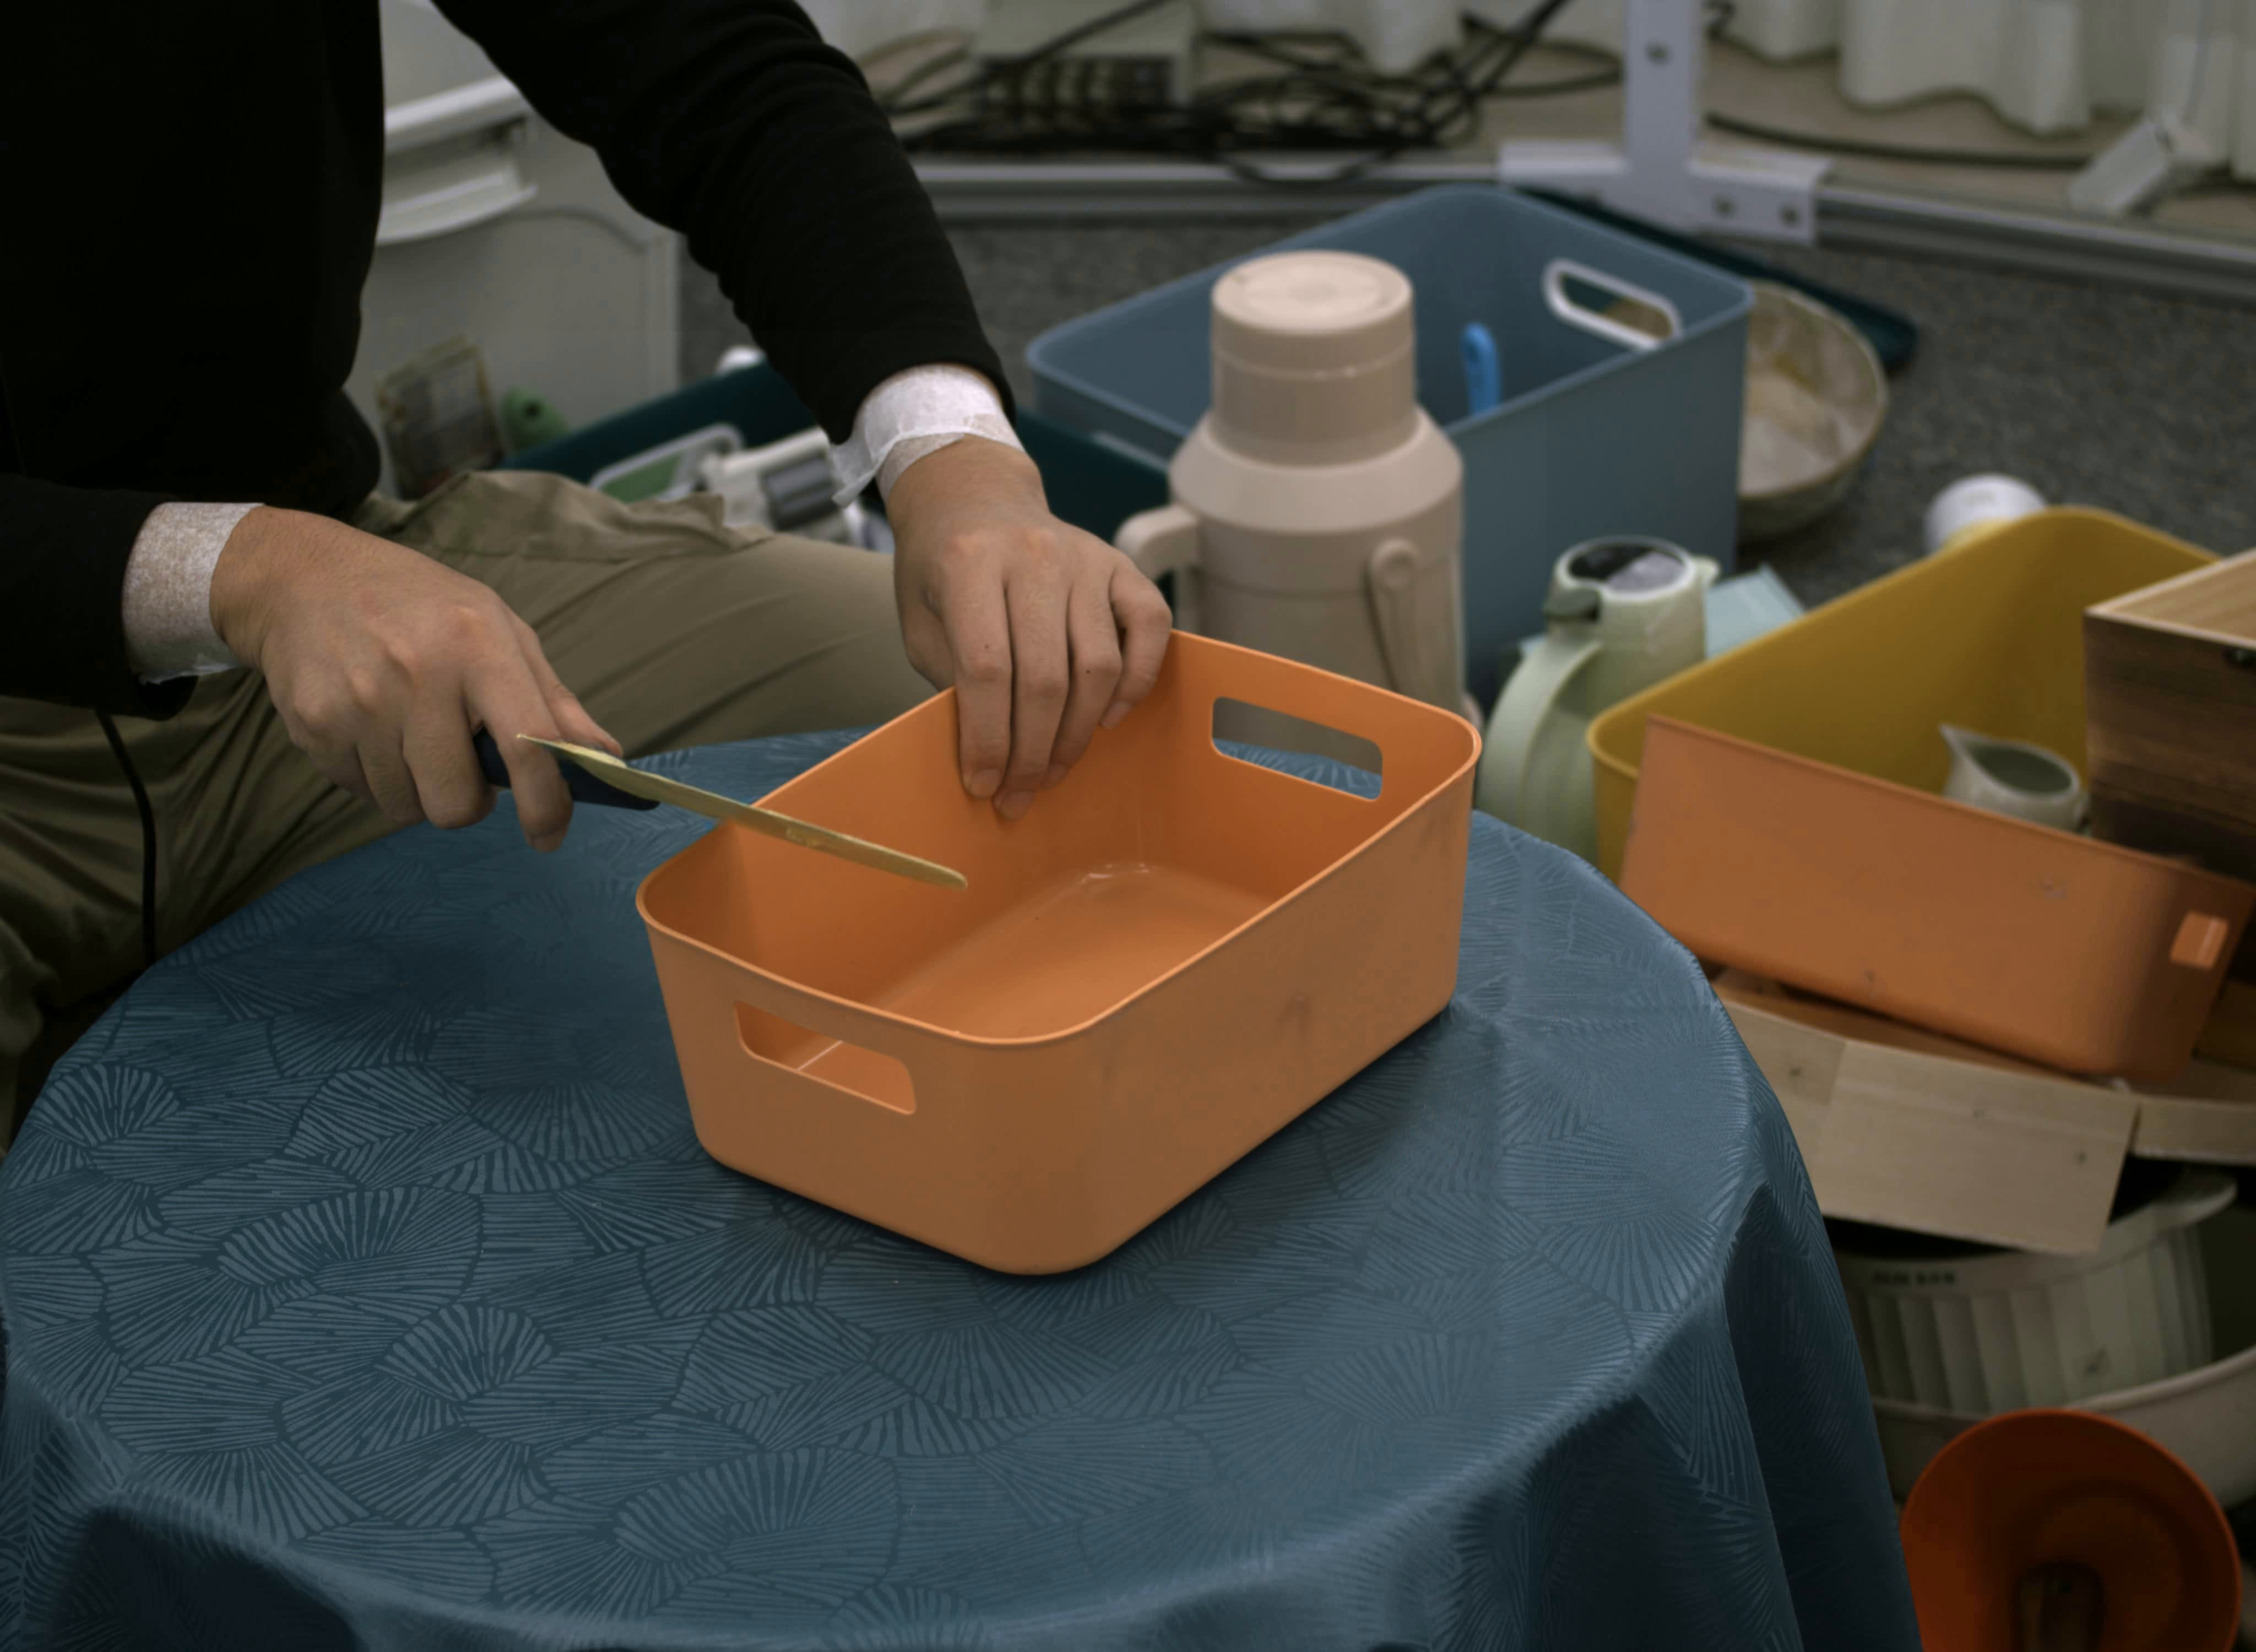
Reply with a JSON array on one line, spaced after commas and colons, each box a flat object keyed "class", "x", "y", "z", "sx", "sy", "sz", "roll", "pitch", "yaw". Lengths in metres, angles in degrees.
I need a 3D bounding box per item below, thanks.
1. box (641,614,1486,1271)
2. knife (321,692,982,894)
[{"class": "box", "x": -0.019, "y": 0.038, "z": 1.912, "sx": 0.198, "sy": 0.101, "sz": 0.277, "roll": 18, "pitch": 34, "yaw": 34}, {"class": "knife", "x": -0.166, "y": -0.012, "z": 1.879, "sx": 0.288, "sy": 0.027, "sz": 0.080, "roll": 13, "pitch": -12, "yaw": 33}]
